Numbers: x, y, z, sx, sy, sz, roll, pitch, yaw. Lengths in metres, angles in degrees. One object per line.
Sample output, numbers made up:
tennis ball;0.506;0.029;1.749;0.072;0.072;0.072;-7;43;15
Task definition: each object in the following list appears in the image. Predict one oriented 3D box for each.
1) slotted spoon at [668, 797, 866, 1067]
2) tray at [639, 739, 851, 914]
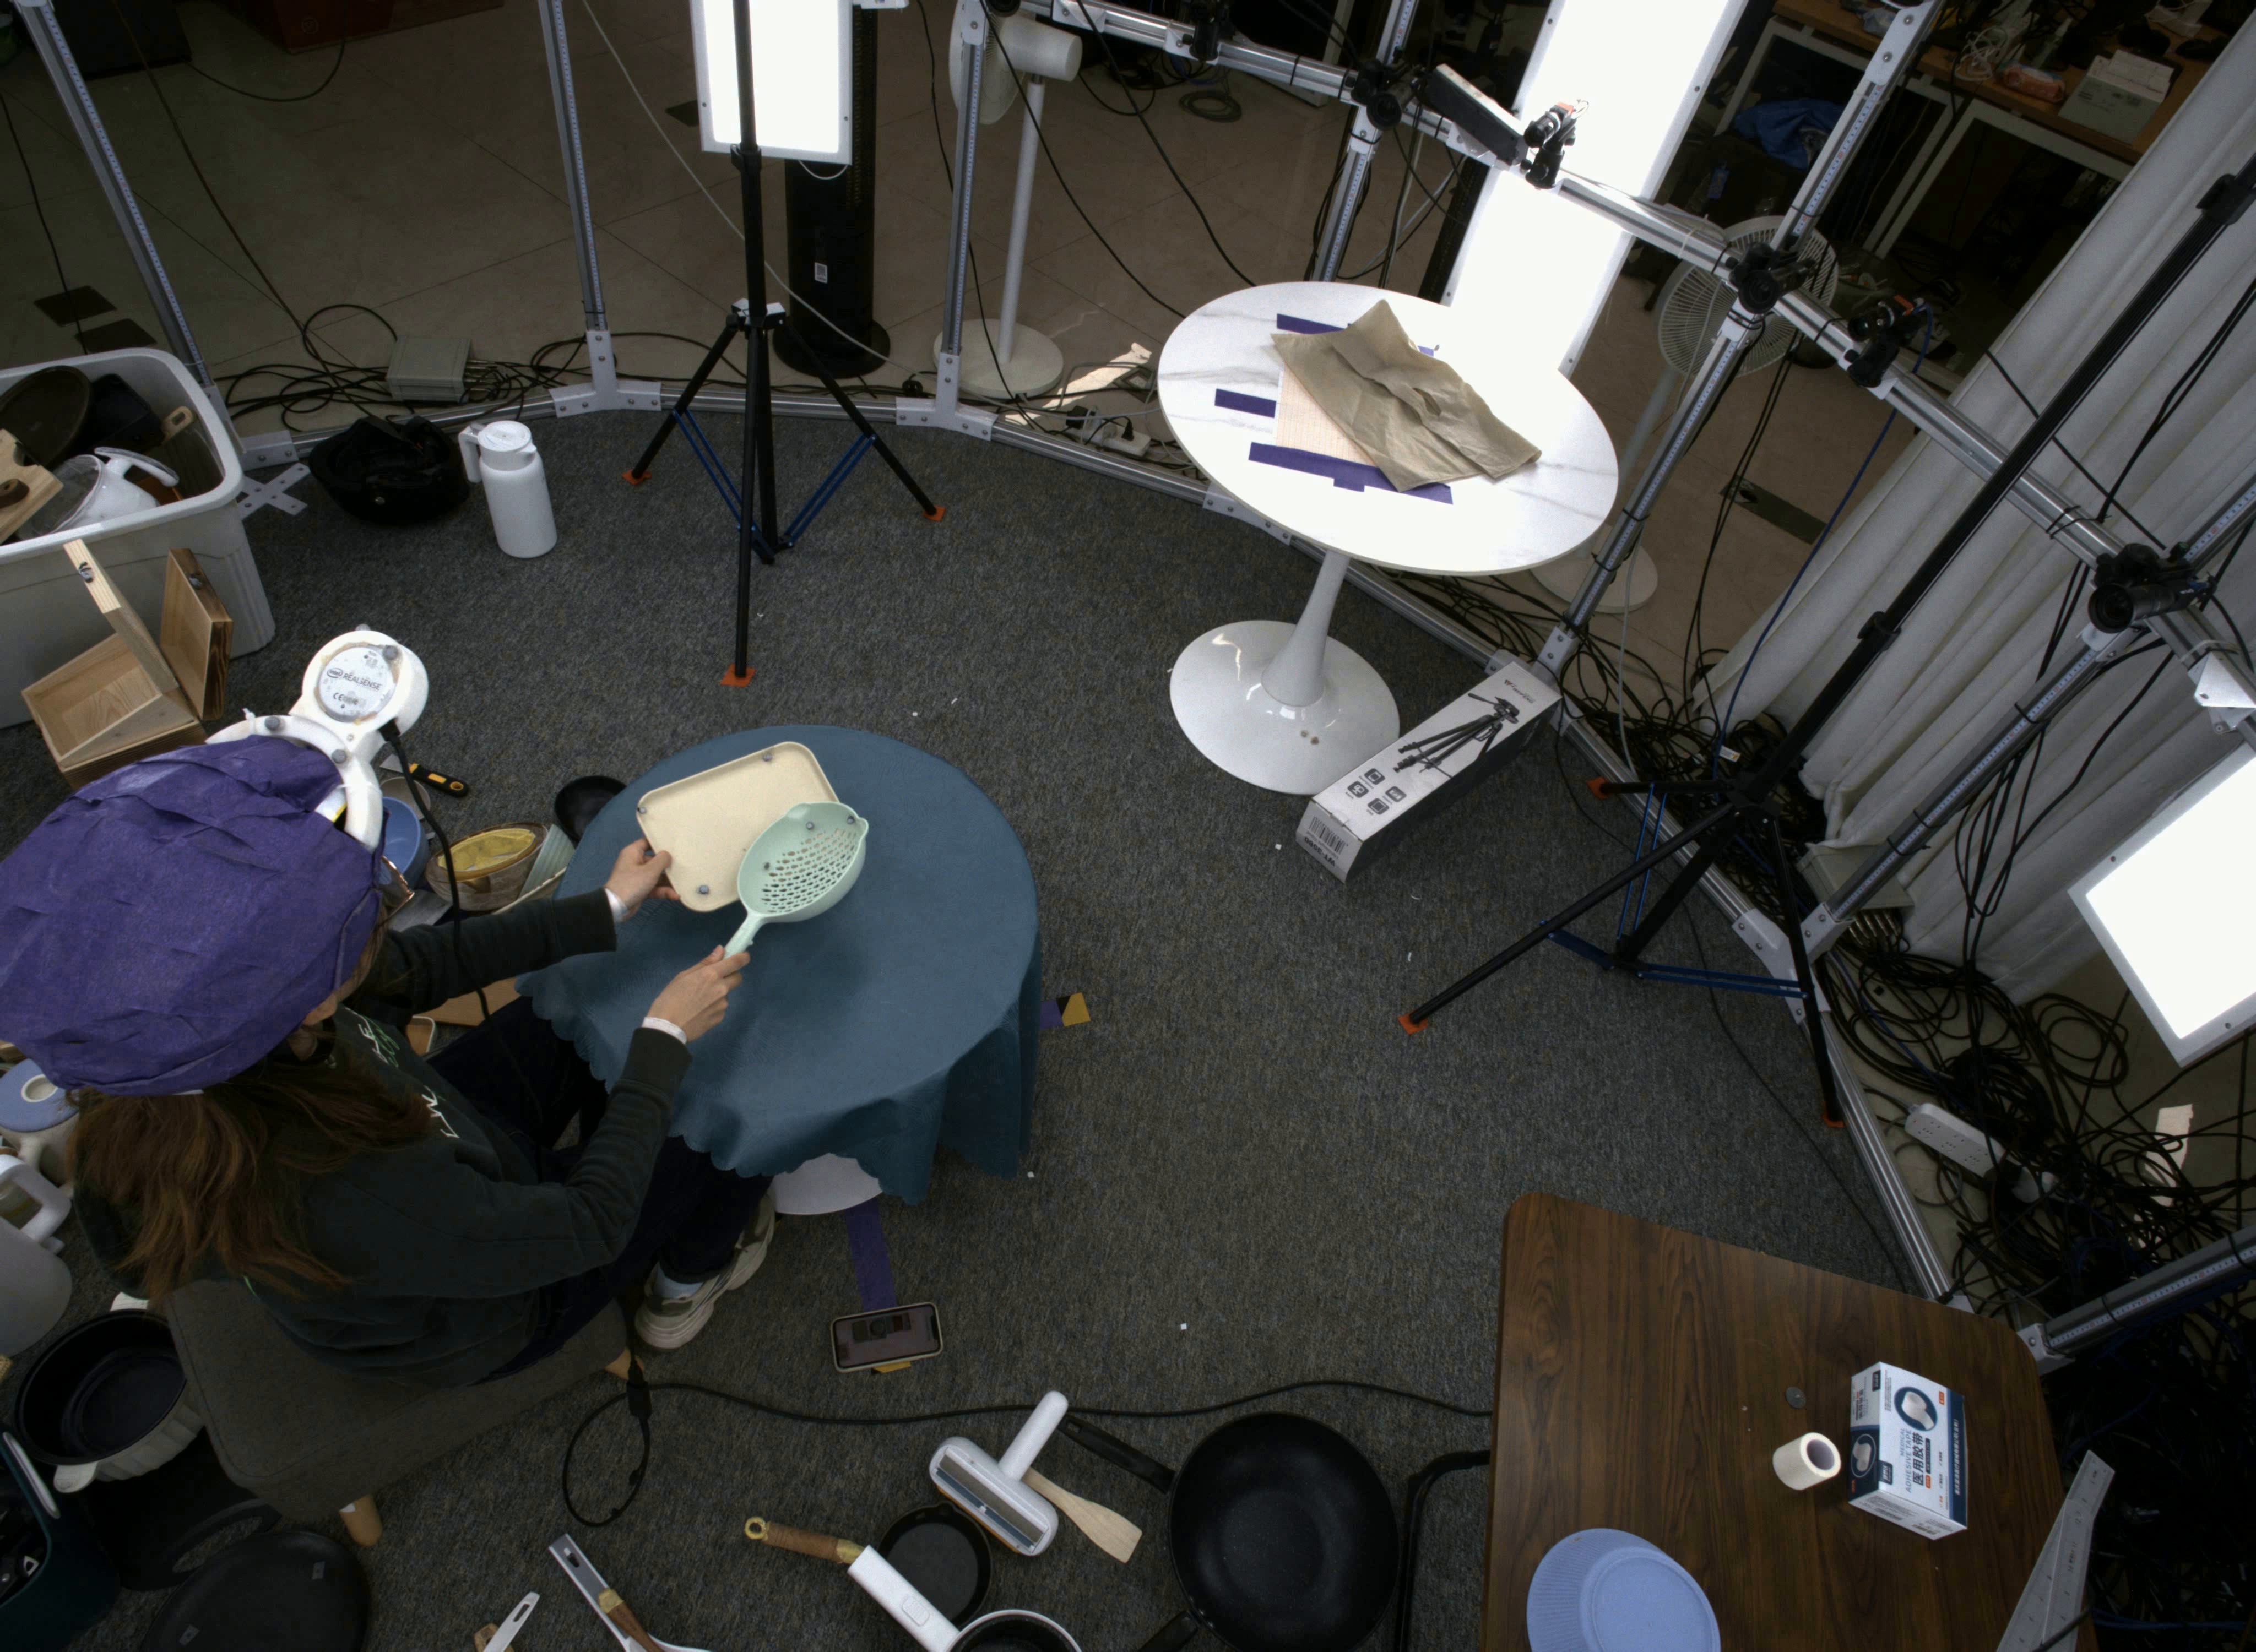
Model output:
slotted spoon;-0.434;0.116;1.511;0.163;0.078;0.358;13;53;35
tray;-0.472;-0.003;1.610;0.241;0.017;0.171;-26;82;-32
